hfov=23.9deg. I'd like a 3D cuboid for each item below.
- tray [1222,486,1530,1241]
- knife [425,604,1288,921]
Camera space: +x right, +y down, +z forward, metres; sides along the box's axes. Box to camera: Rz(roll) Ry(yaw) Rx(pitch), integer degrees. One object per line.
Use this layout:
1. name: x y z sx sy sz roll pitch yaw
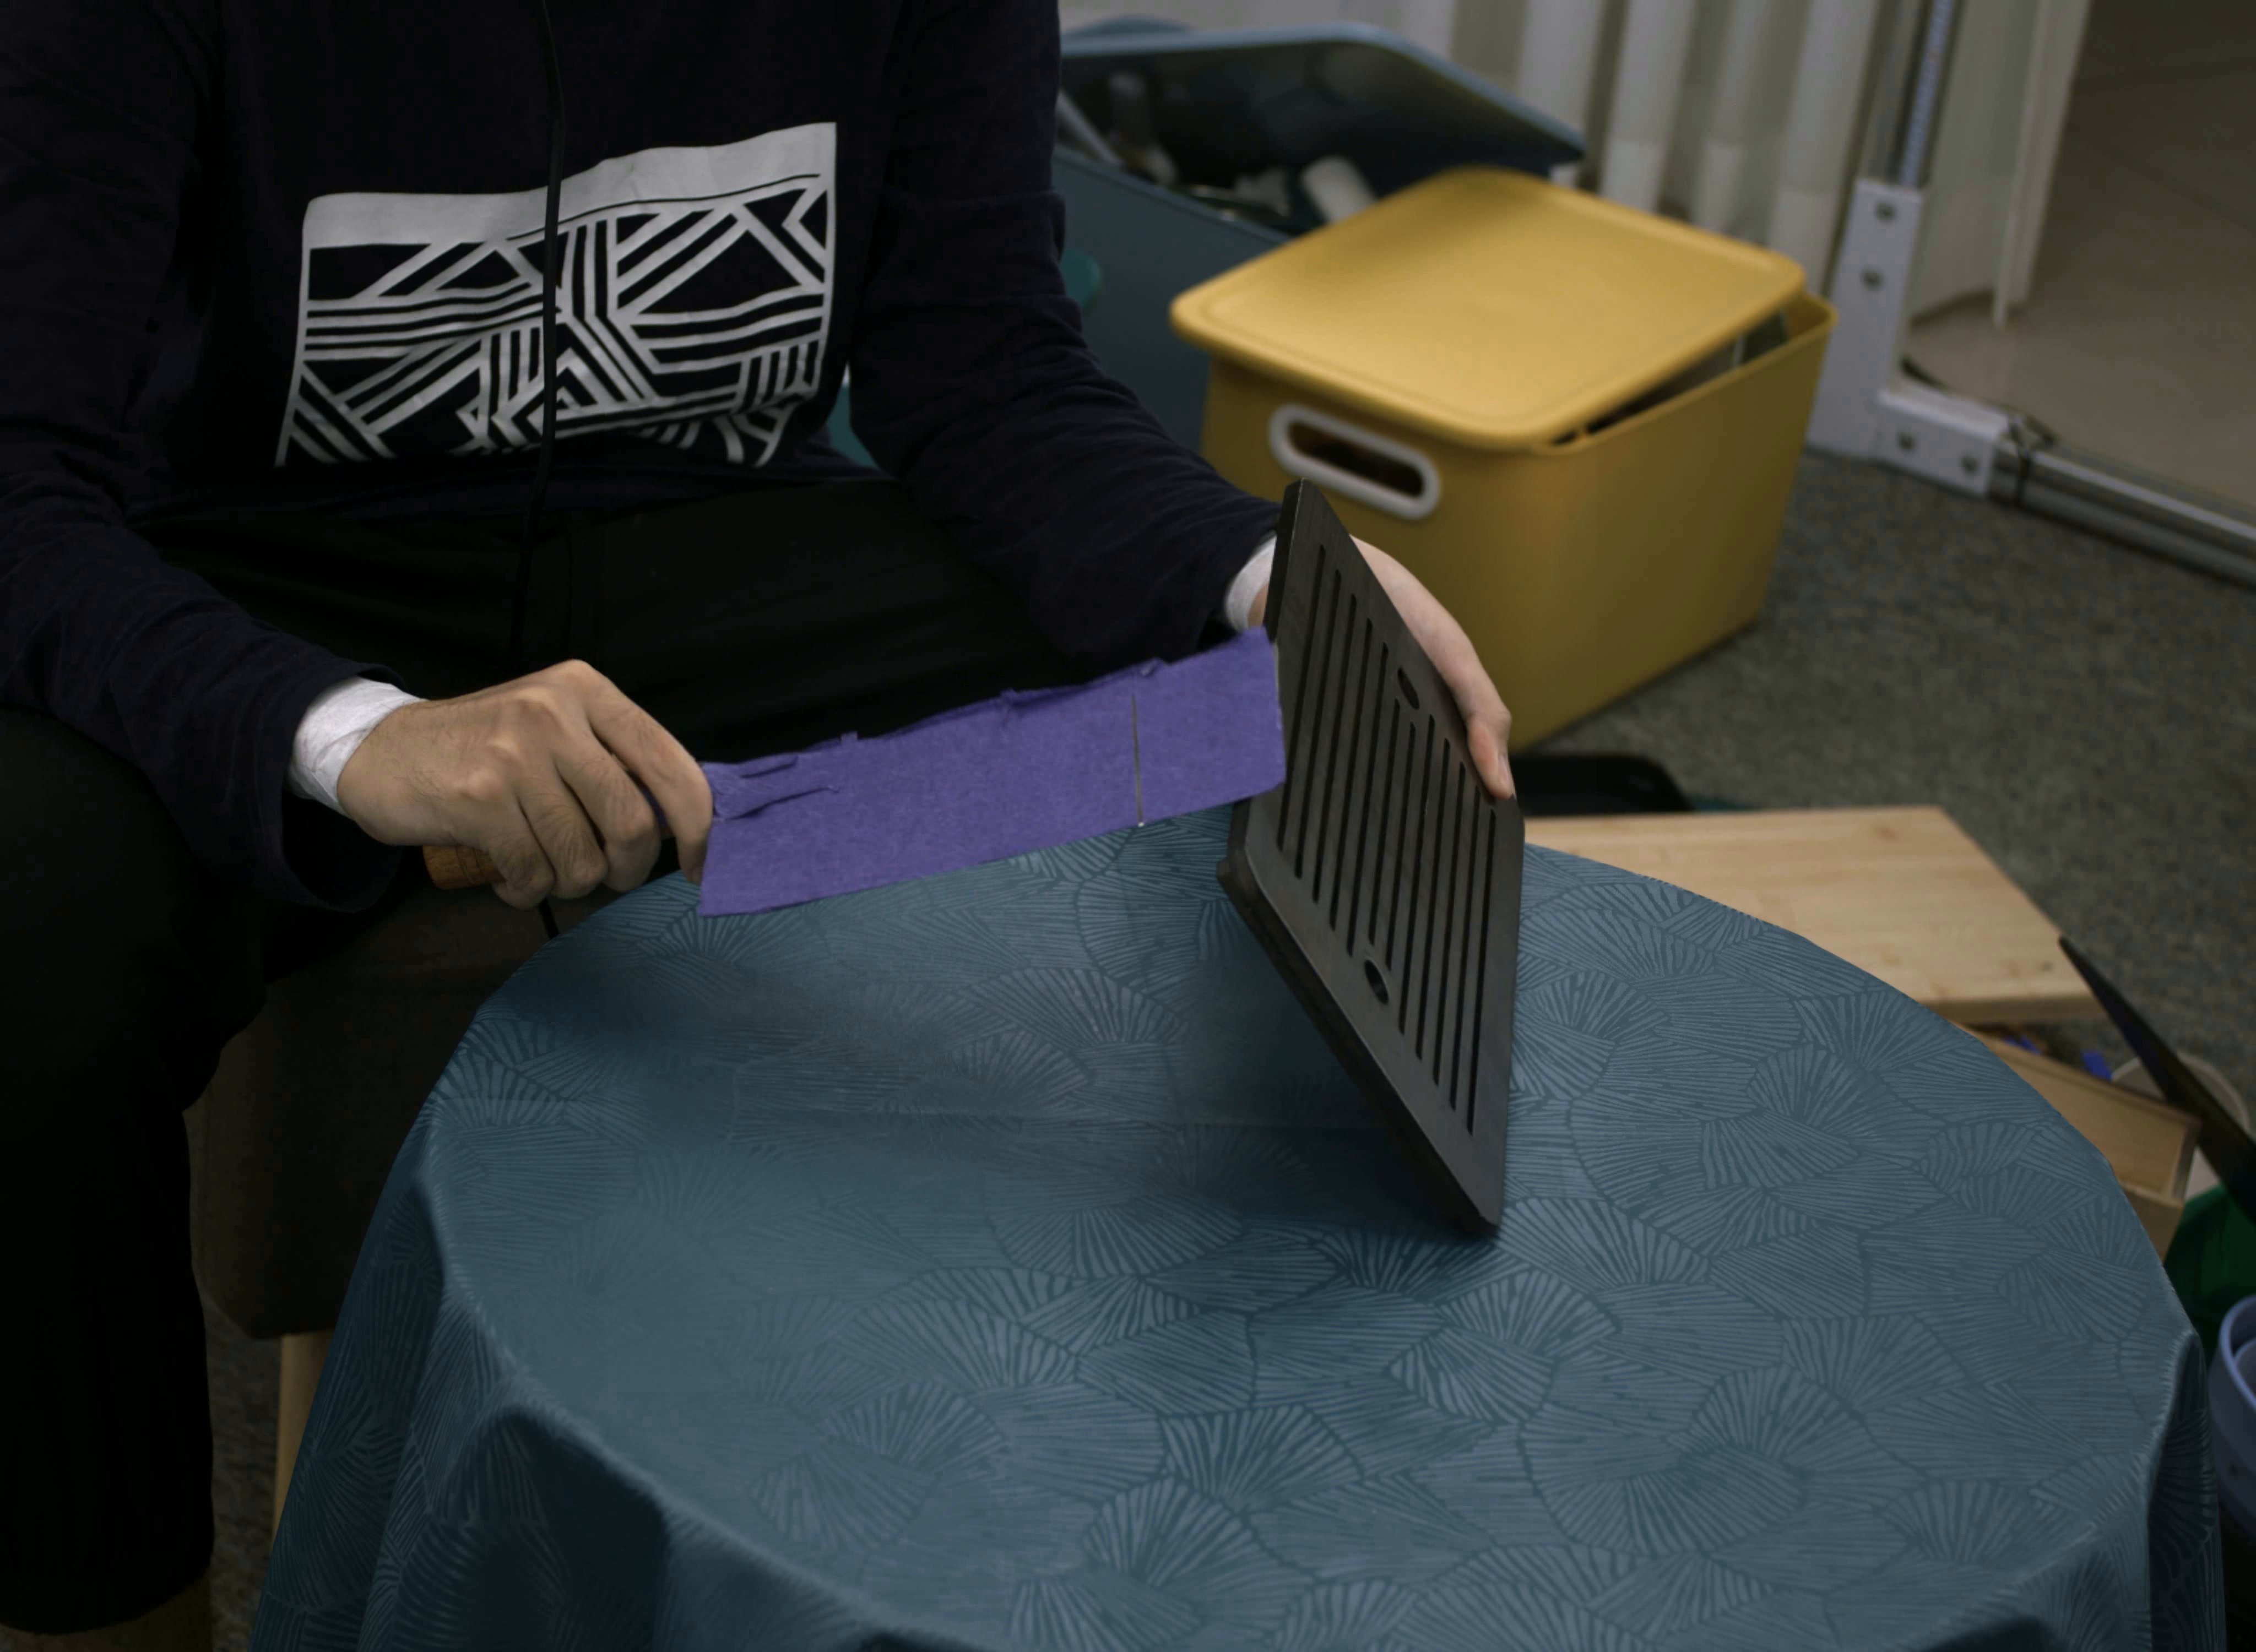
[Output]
1. tray: 0.091 0.008 1.900 0.018 0.169 0.307 -27 22 19
2. knife: -0.097 -0.010 1.832 0.315 0.032 0.104 -16 33 12
